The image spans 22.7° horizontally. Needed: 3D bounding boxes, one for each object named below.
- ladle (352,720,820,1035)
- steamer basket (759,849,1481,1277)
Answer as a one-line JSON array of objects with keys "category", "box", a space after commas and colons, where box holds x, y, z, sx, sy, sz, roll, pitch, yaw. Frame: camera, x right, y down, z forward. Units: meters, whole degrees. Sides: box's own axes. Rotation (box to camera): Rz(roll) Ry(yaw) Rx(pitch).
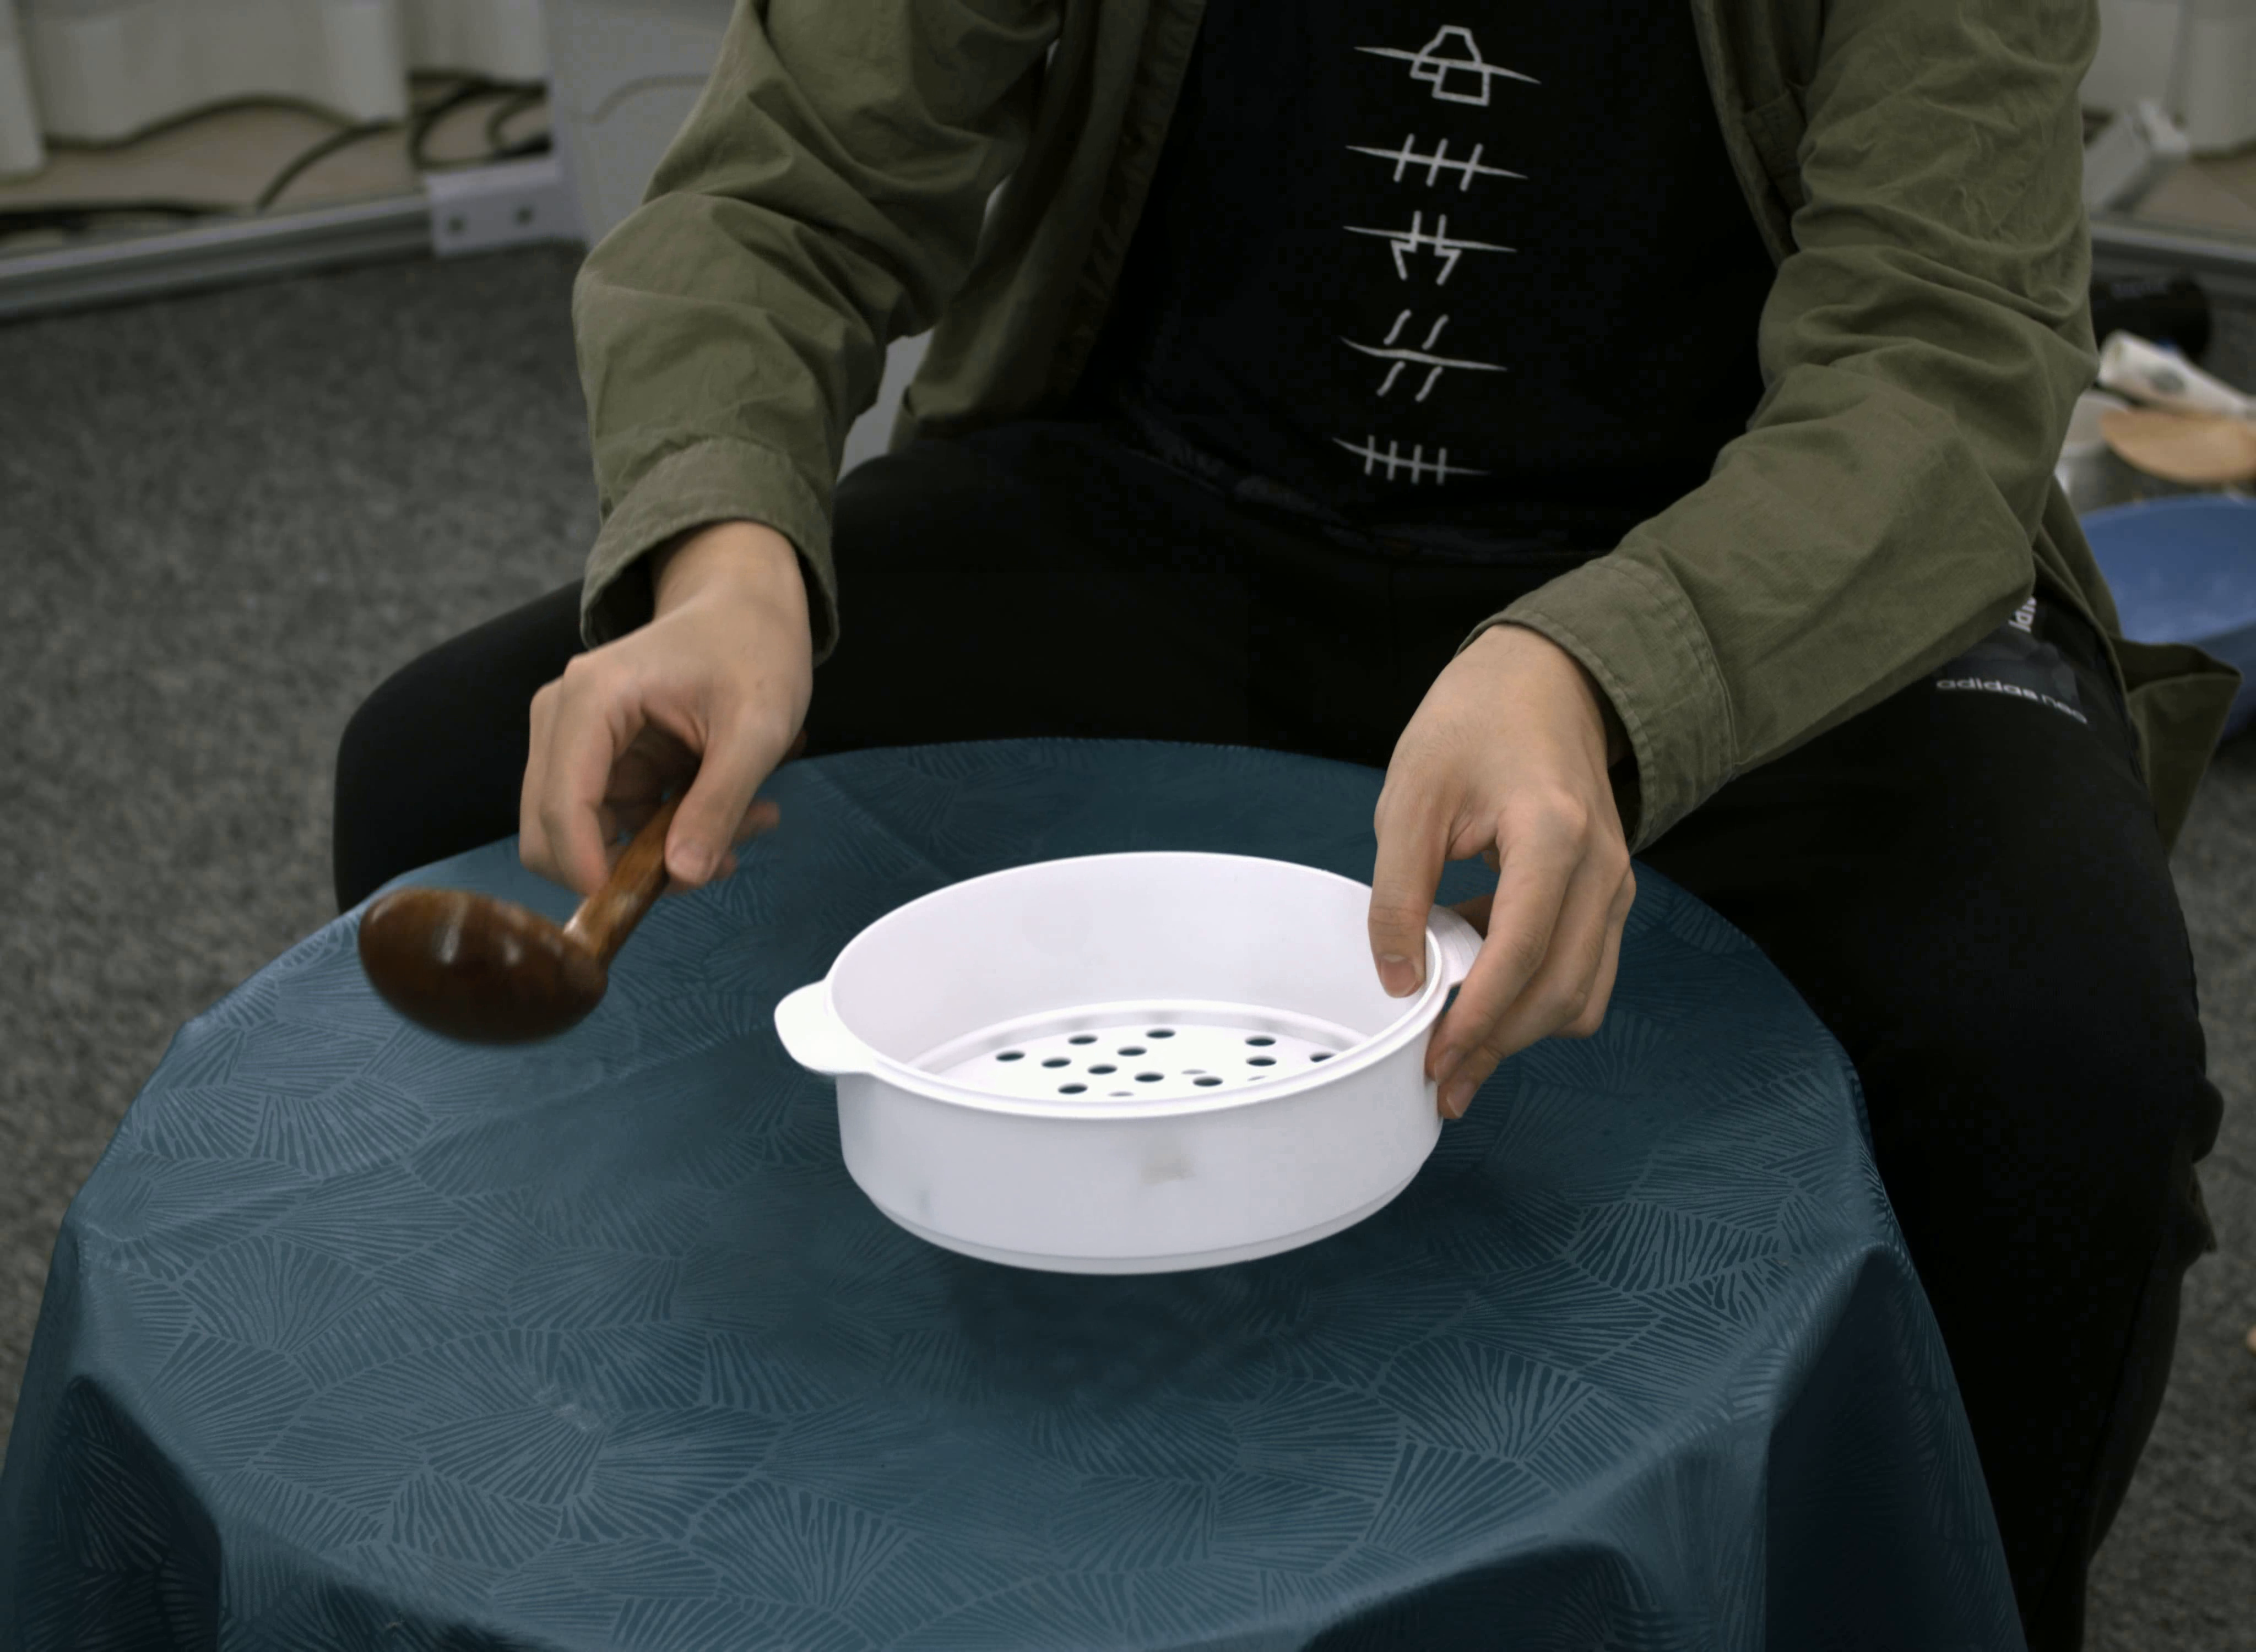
[{"category": "ladle", "box": [-0.169, -0.005, 1.860, 0.081, 0.076, 0.278, 9, 27, 18]}, {"category": "steamer basket", "box": [-0.002, 0.076, 1.790, 0.230, 0.068, 0.203, -7, 22, -12]}]
